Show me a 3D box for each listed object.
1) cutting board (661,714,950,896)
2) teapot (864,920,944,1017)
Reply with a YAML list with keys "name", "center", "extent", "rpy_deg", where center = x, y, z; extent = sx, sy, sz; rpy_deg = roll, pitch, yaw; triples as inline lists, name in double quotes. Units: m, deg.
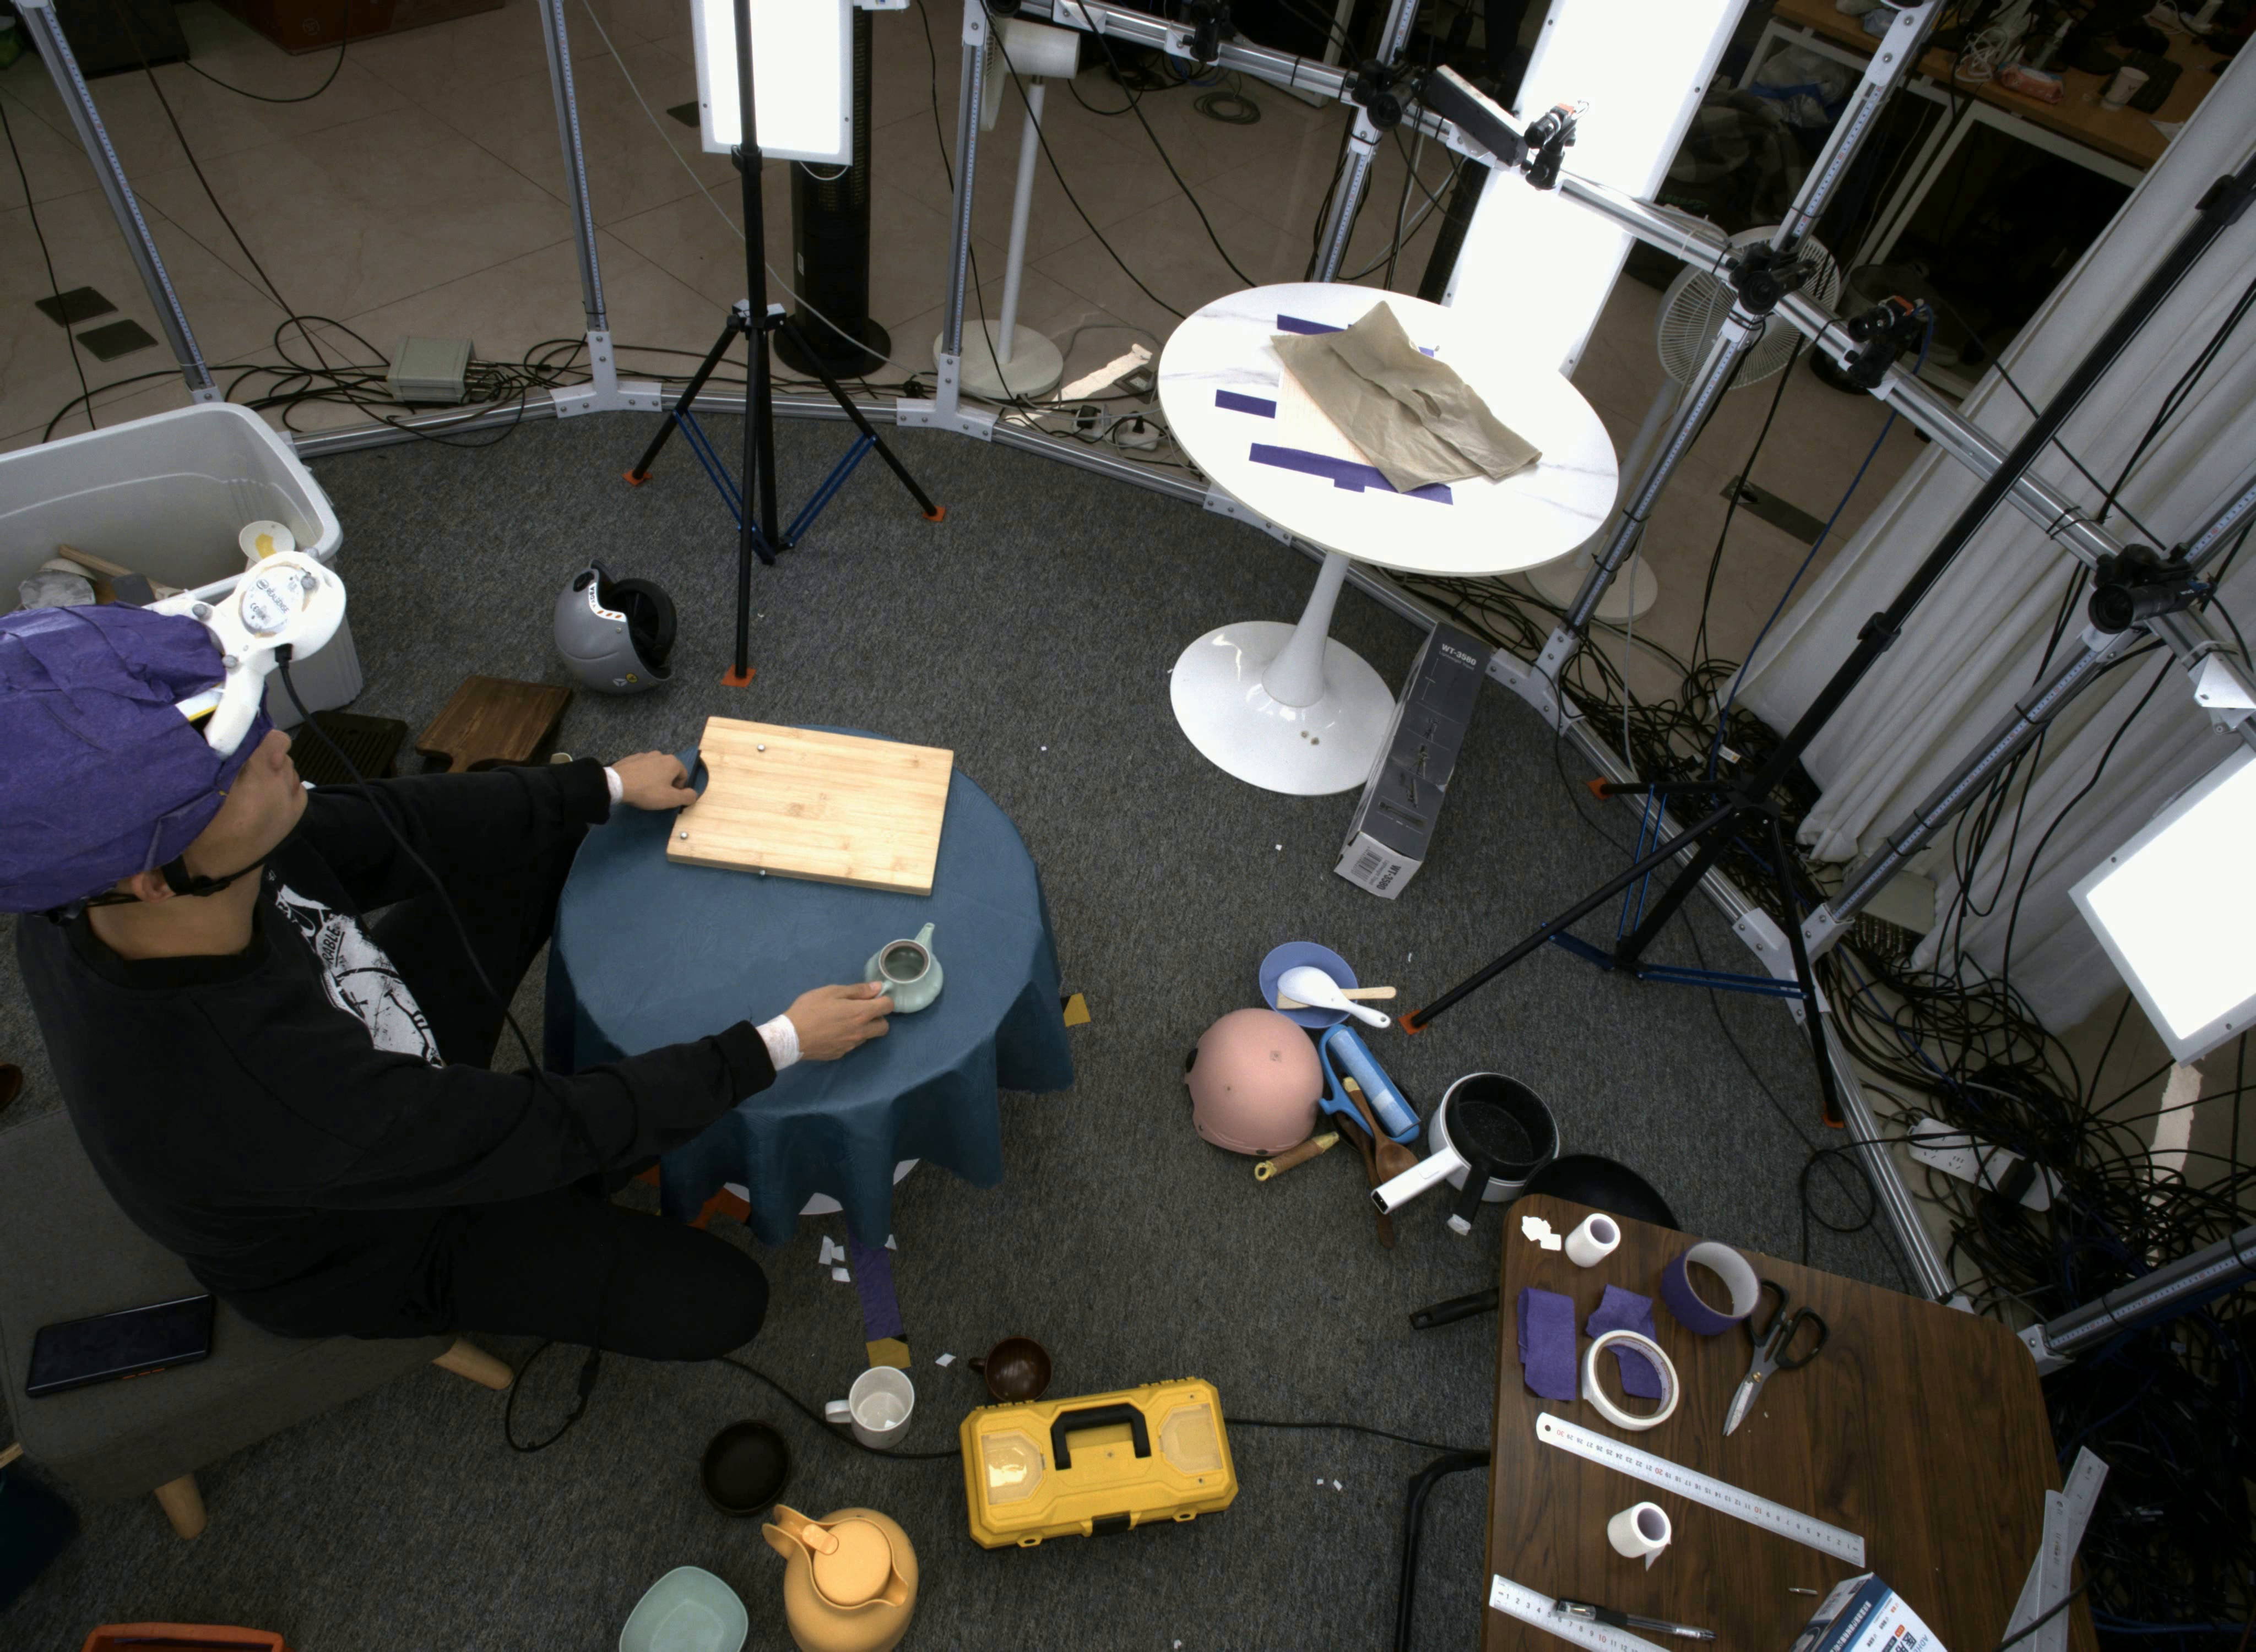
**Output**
- name: "cutting board"
  center: [-0.423, -0.032, 1.735]
  extent: [0.348, 0.024, 0.246]
  rpy_deg: [7, 52, -9]
- name: "teapot"
  center: [-0.275, 0.179, 1.587]
  extent: [0.095, 0.062, 0.136]
  rpy_deg: [26, 51, 5]
